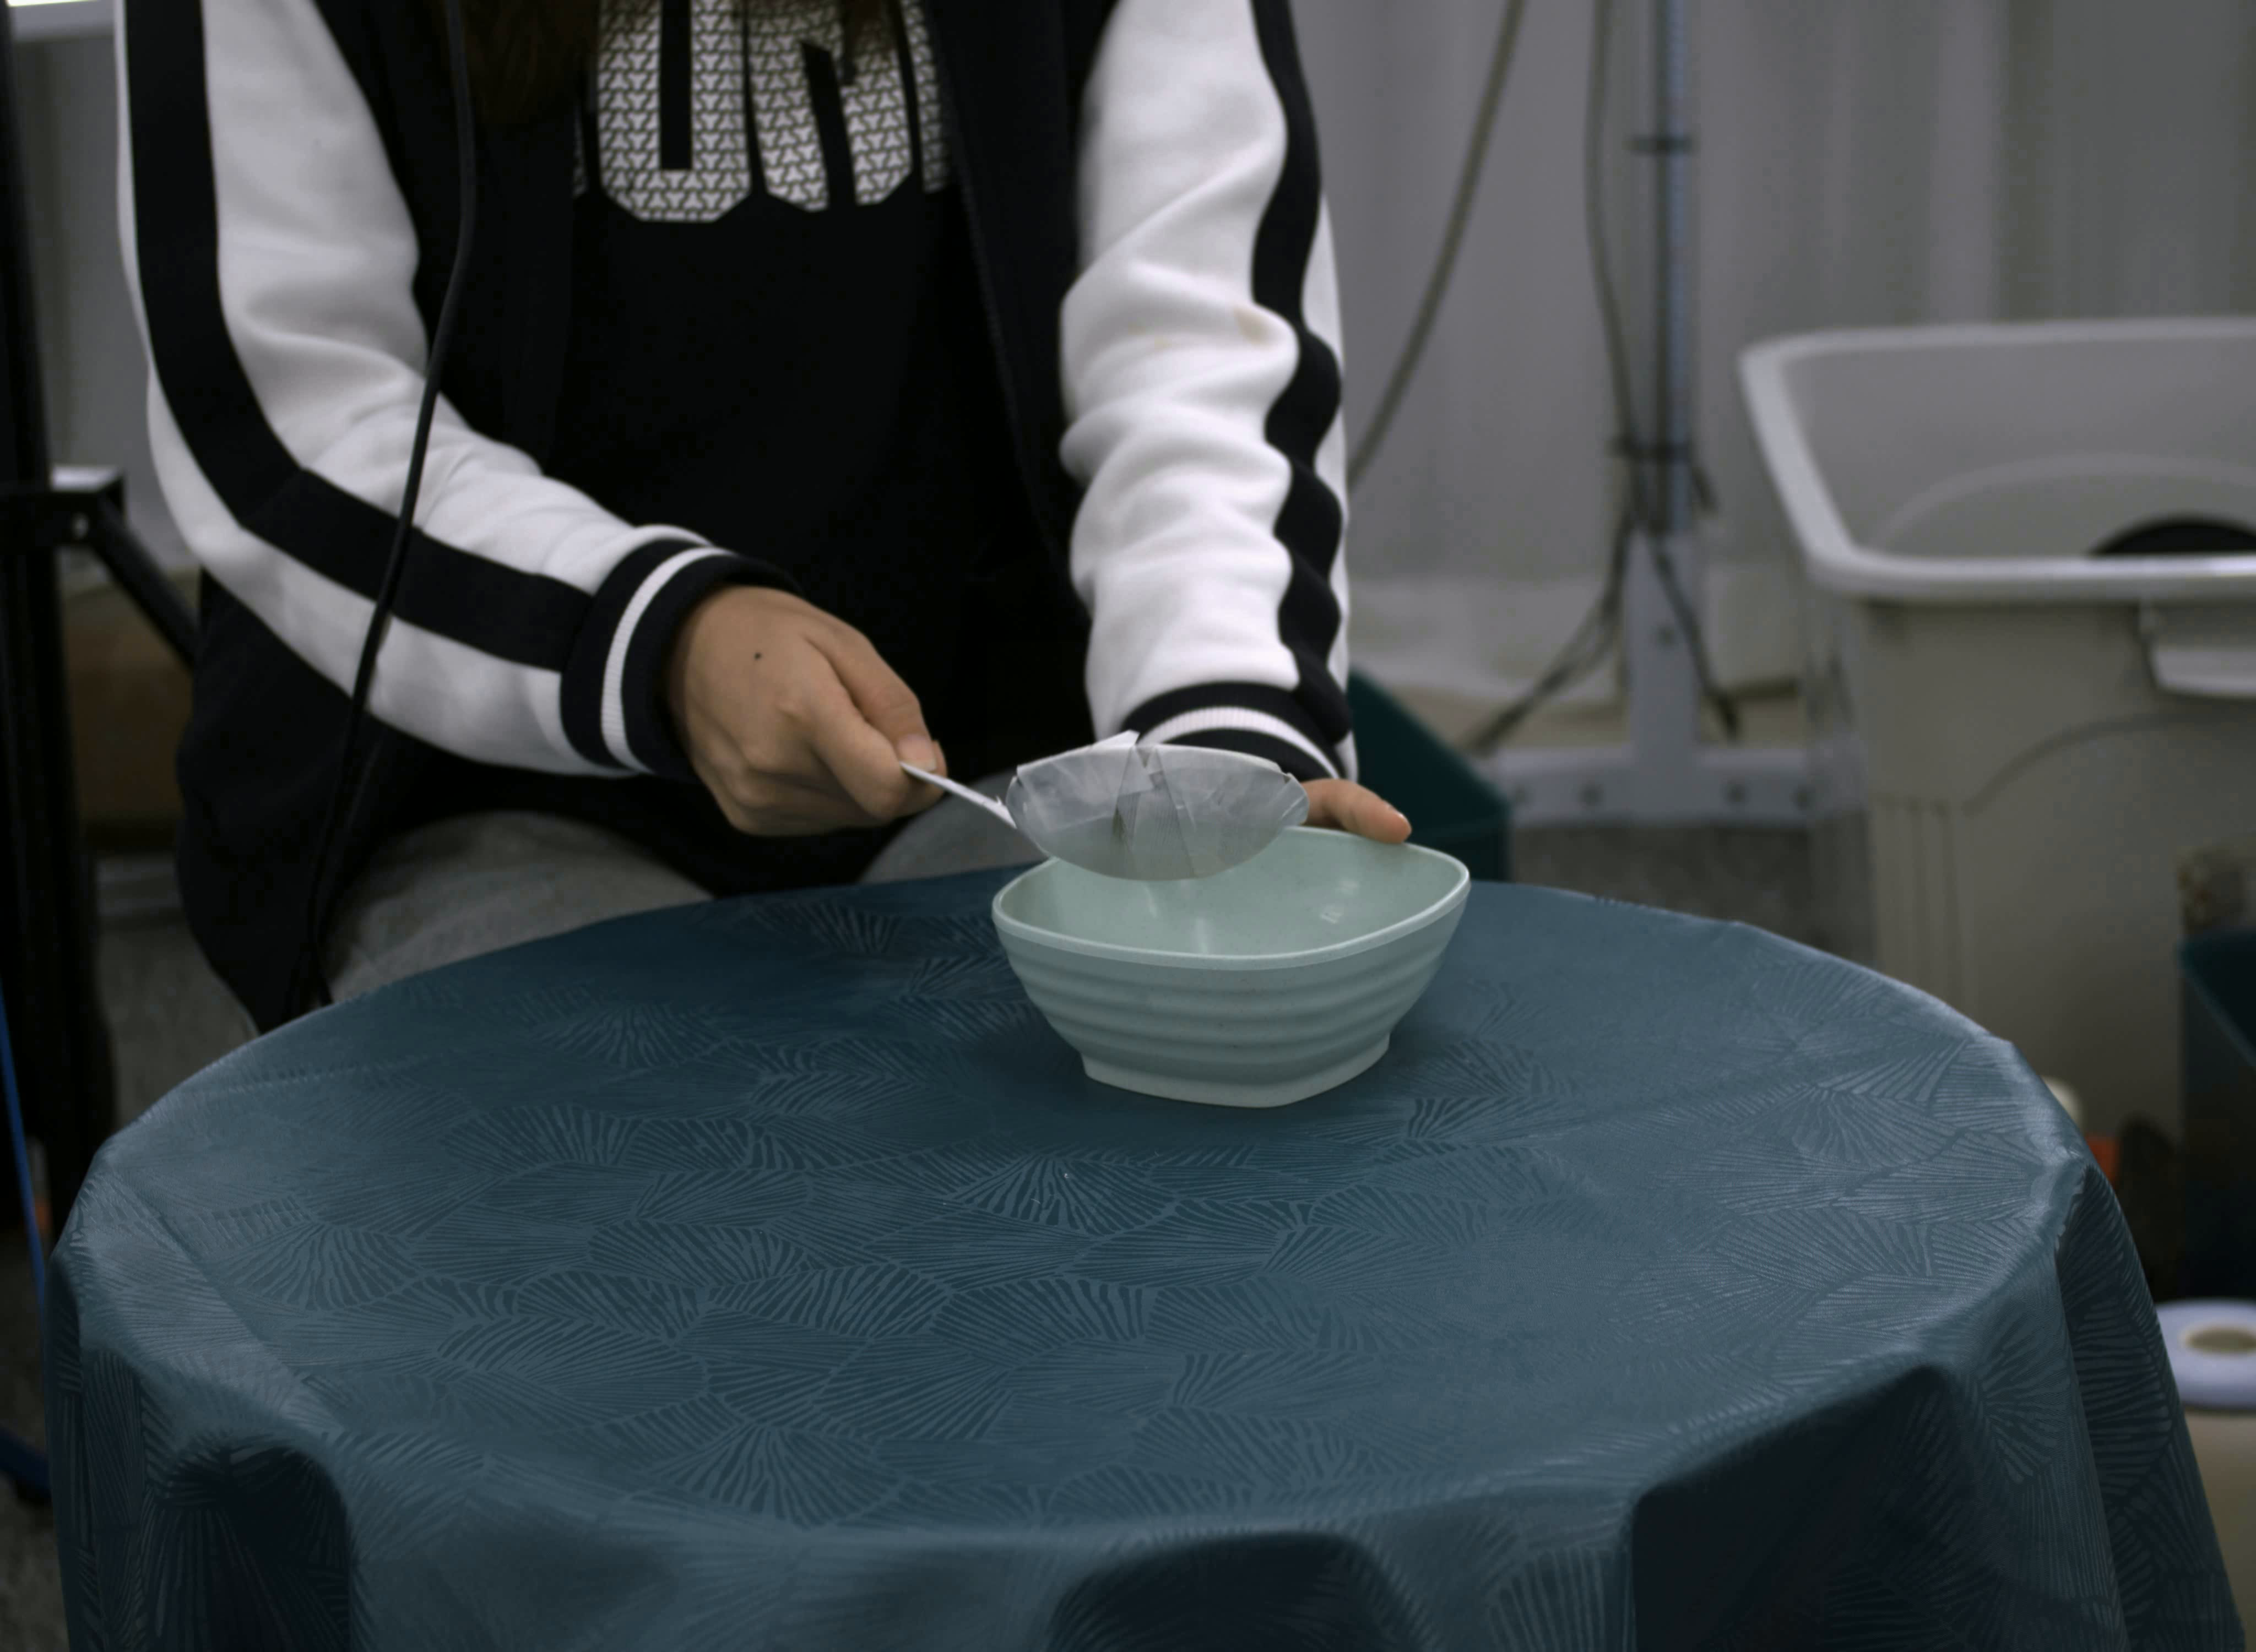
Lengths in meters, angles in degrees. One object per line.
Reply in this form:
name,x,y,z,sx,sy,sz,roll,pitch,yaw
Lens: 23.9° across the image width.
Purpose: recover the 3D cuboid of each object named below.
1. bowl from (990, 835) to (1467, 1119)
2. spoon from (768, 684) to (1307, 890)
bowl,0.033,0.049,1.665,0.150,0.058,0.152,-3,15,-1
spoon,-0.037,-0.031,1.718,0.098,0.059,0.283,27,1,-32
